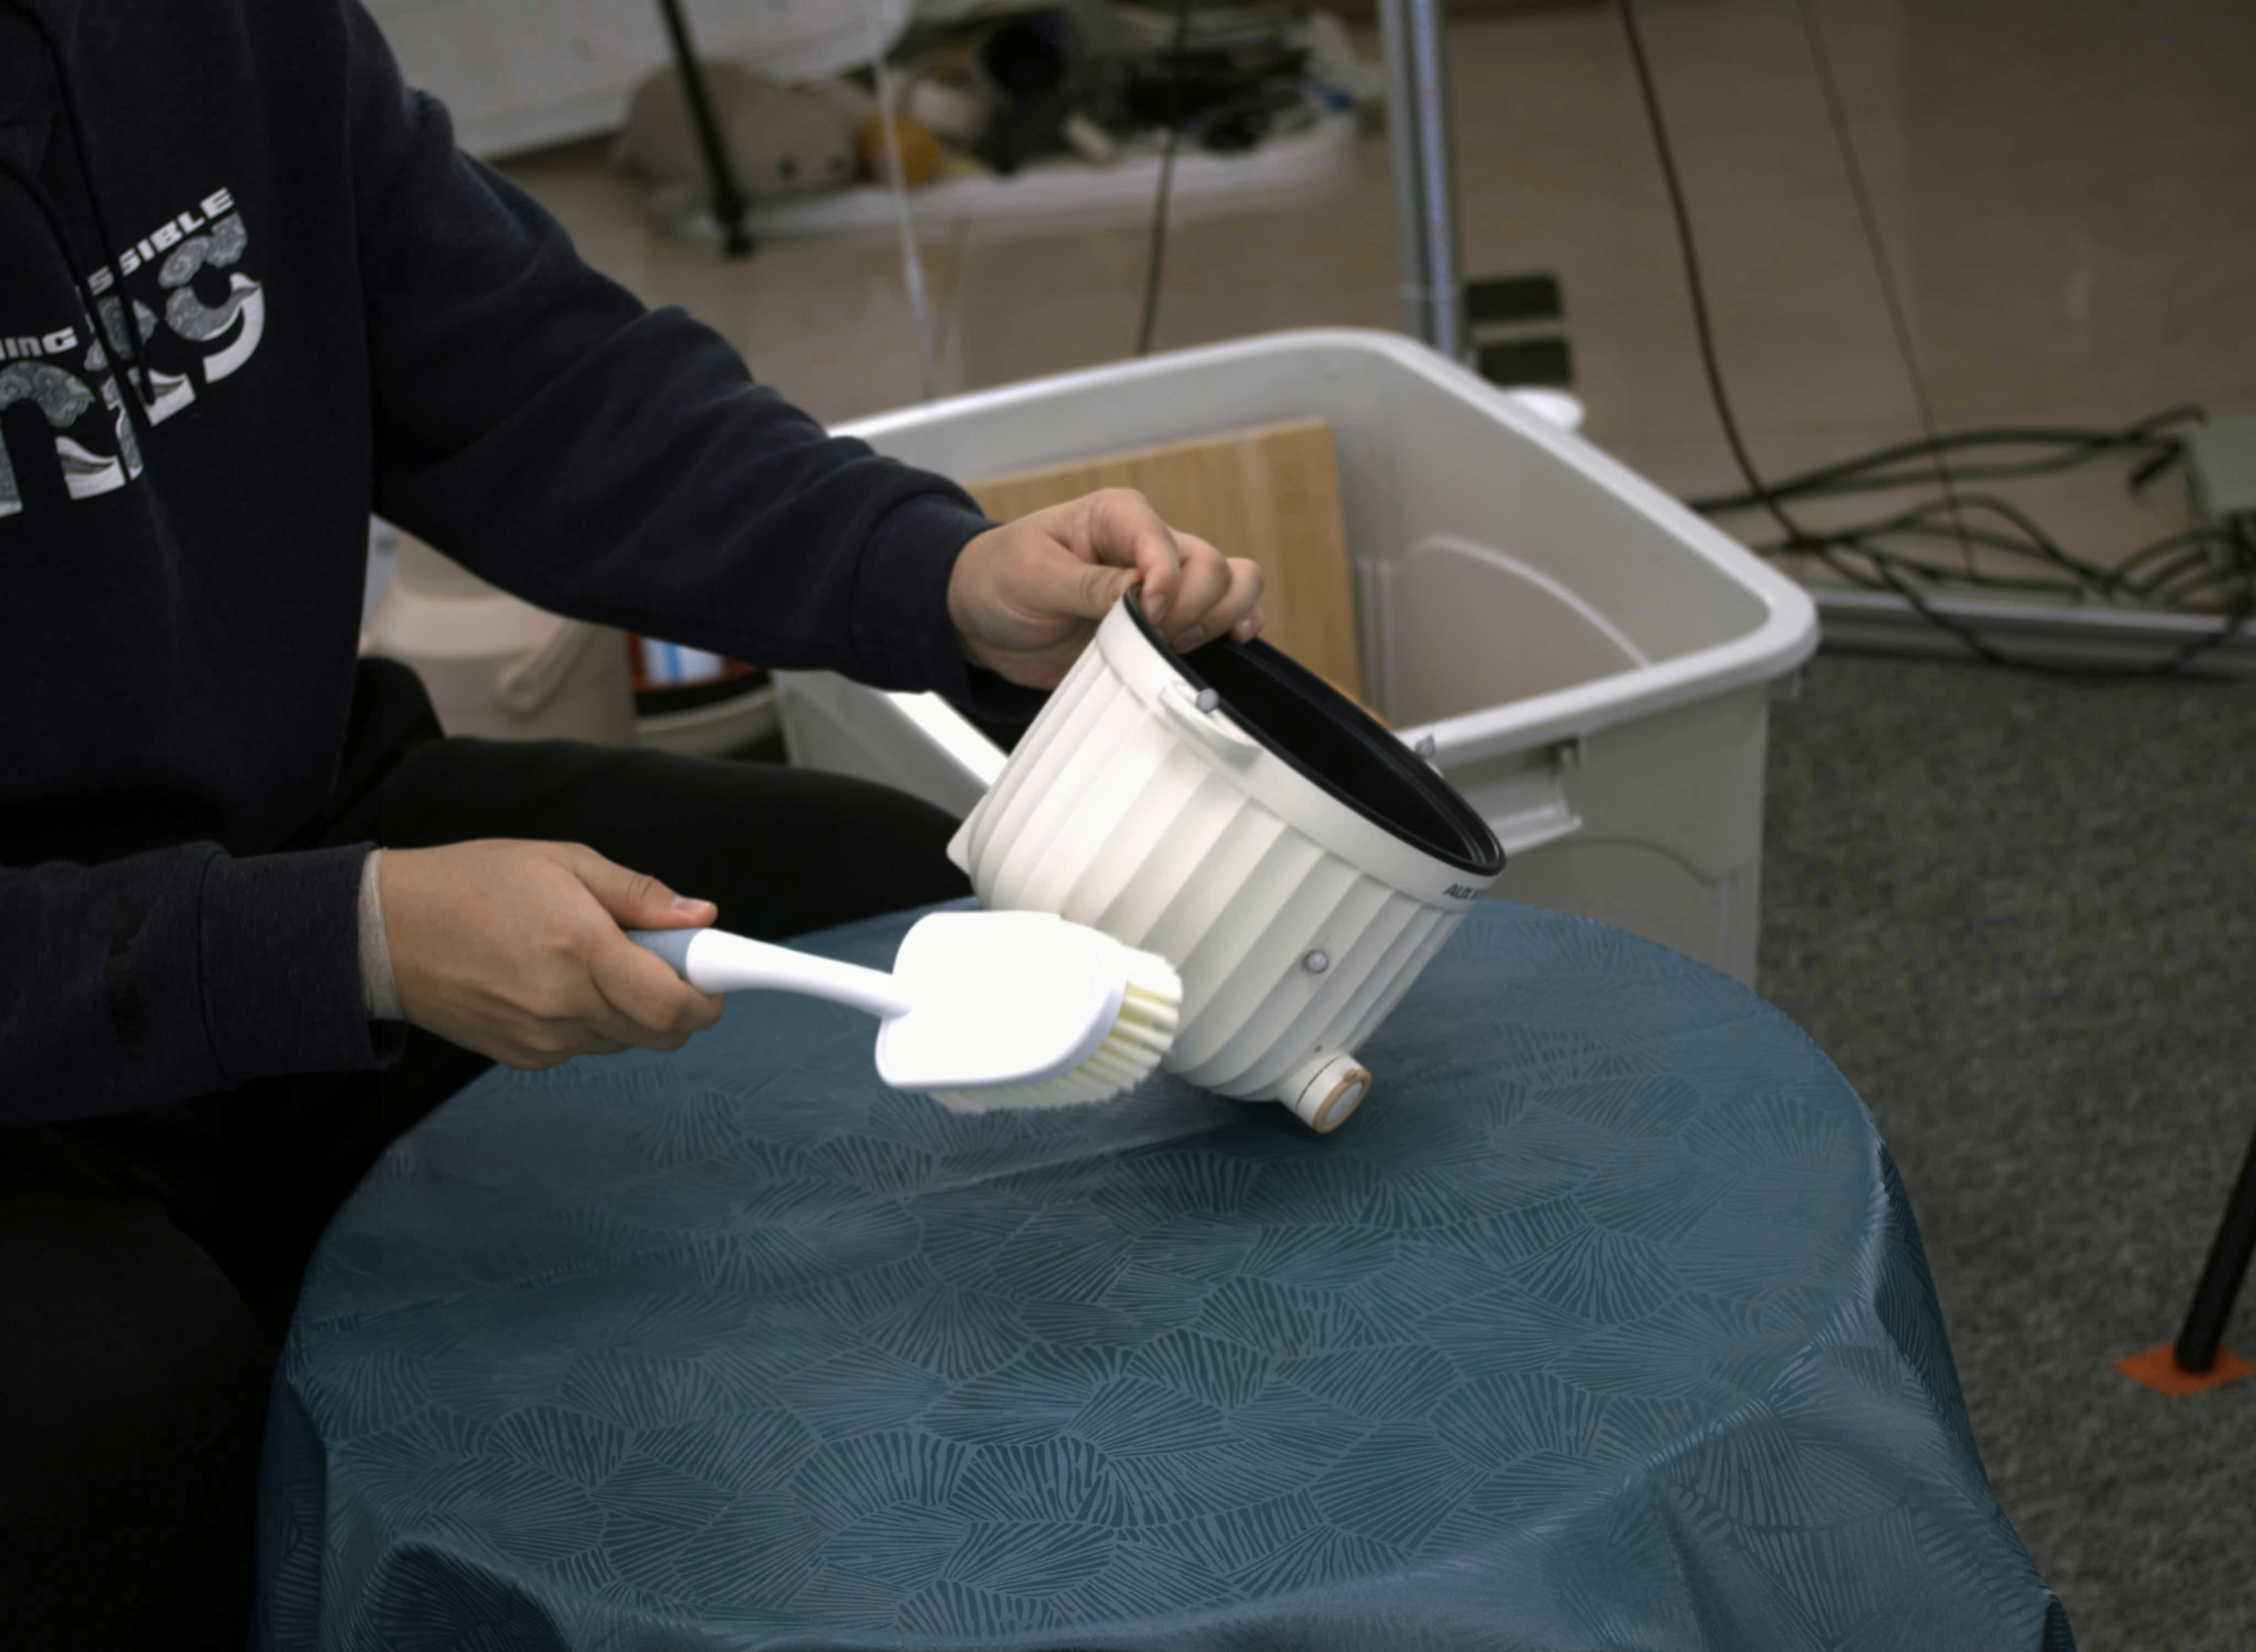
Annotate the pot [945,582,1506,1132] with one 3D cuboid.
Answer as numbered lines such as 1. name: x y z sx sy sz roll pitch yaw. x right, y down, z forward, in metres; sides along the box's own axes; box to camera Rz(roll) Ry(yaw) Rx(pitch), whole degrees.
1. pot: 0.038 0.016 2.184 0.189 0.143 0.240 38 13 20

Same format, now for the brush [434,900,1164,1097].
1. brush: -0.118 0.056 2.122 0.324 0.086 0.082 2 37 35
